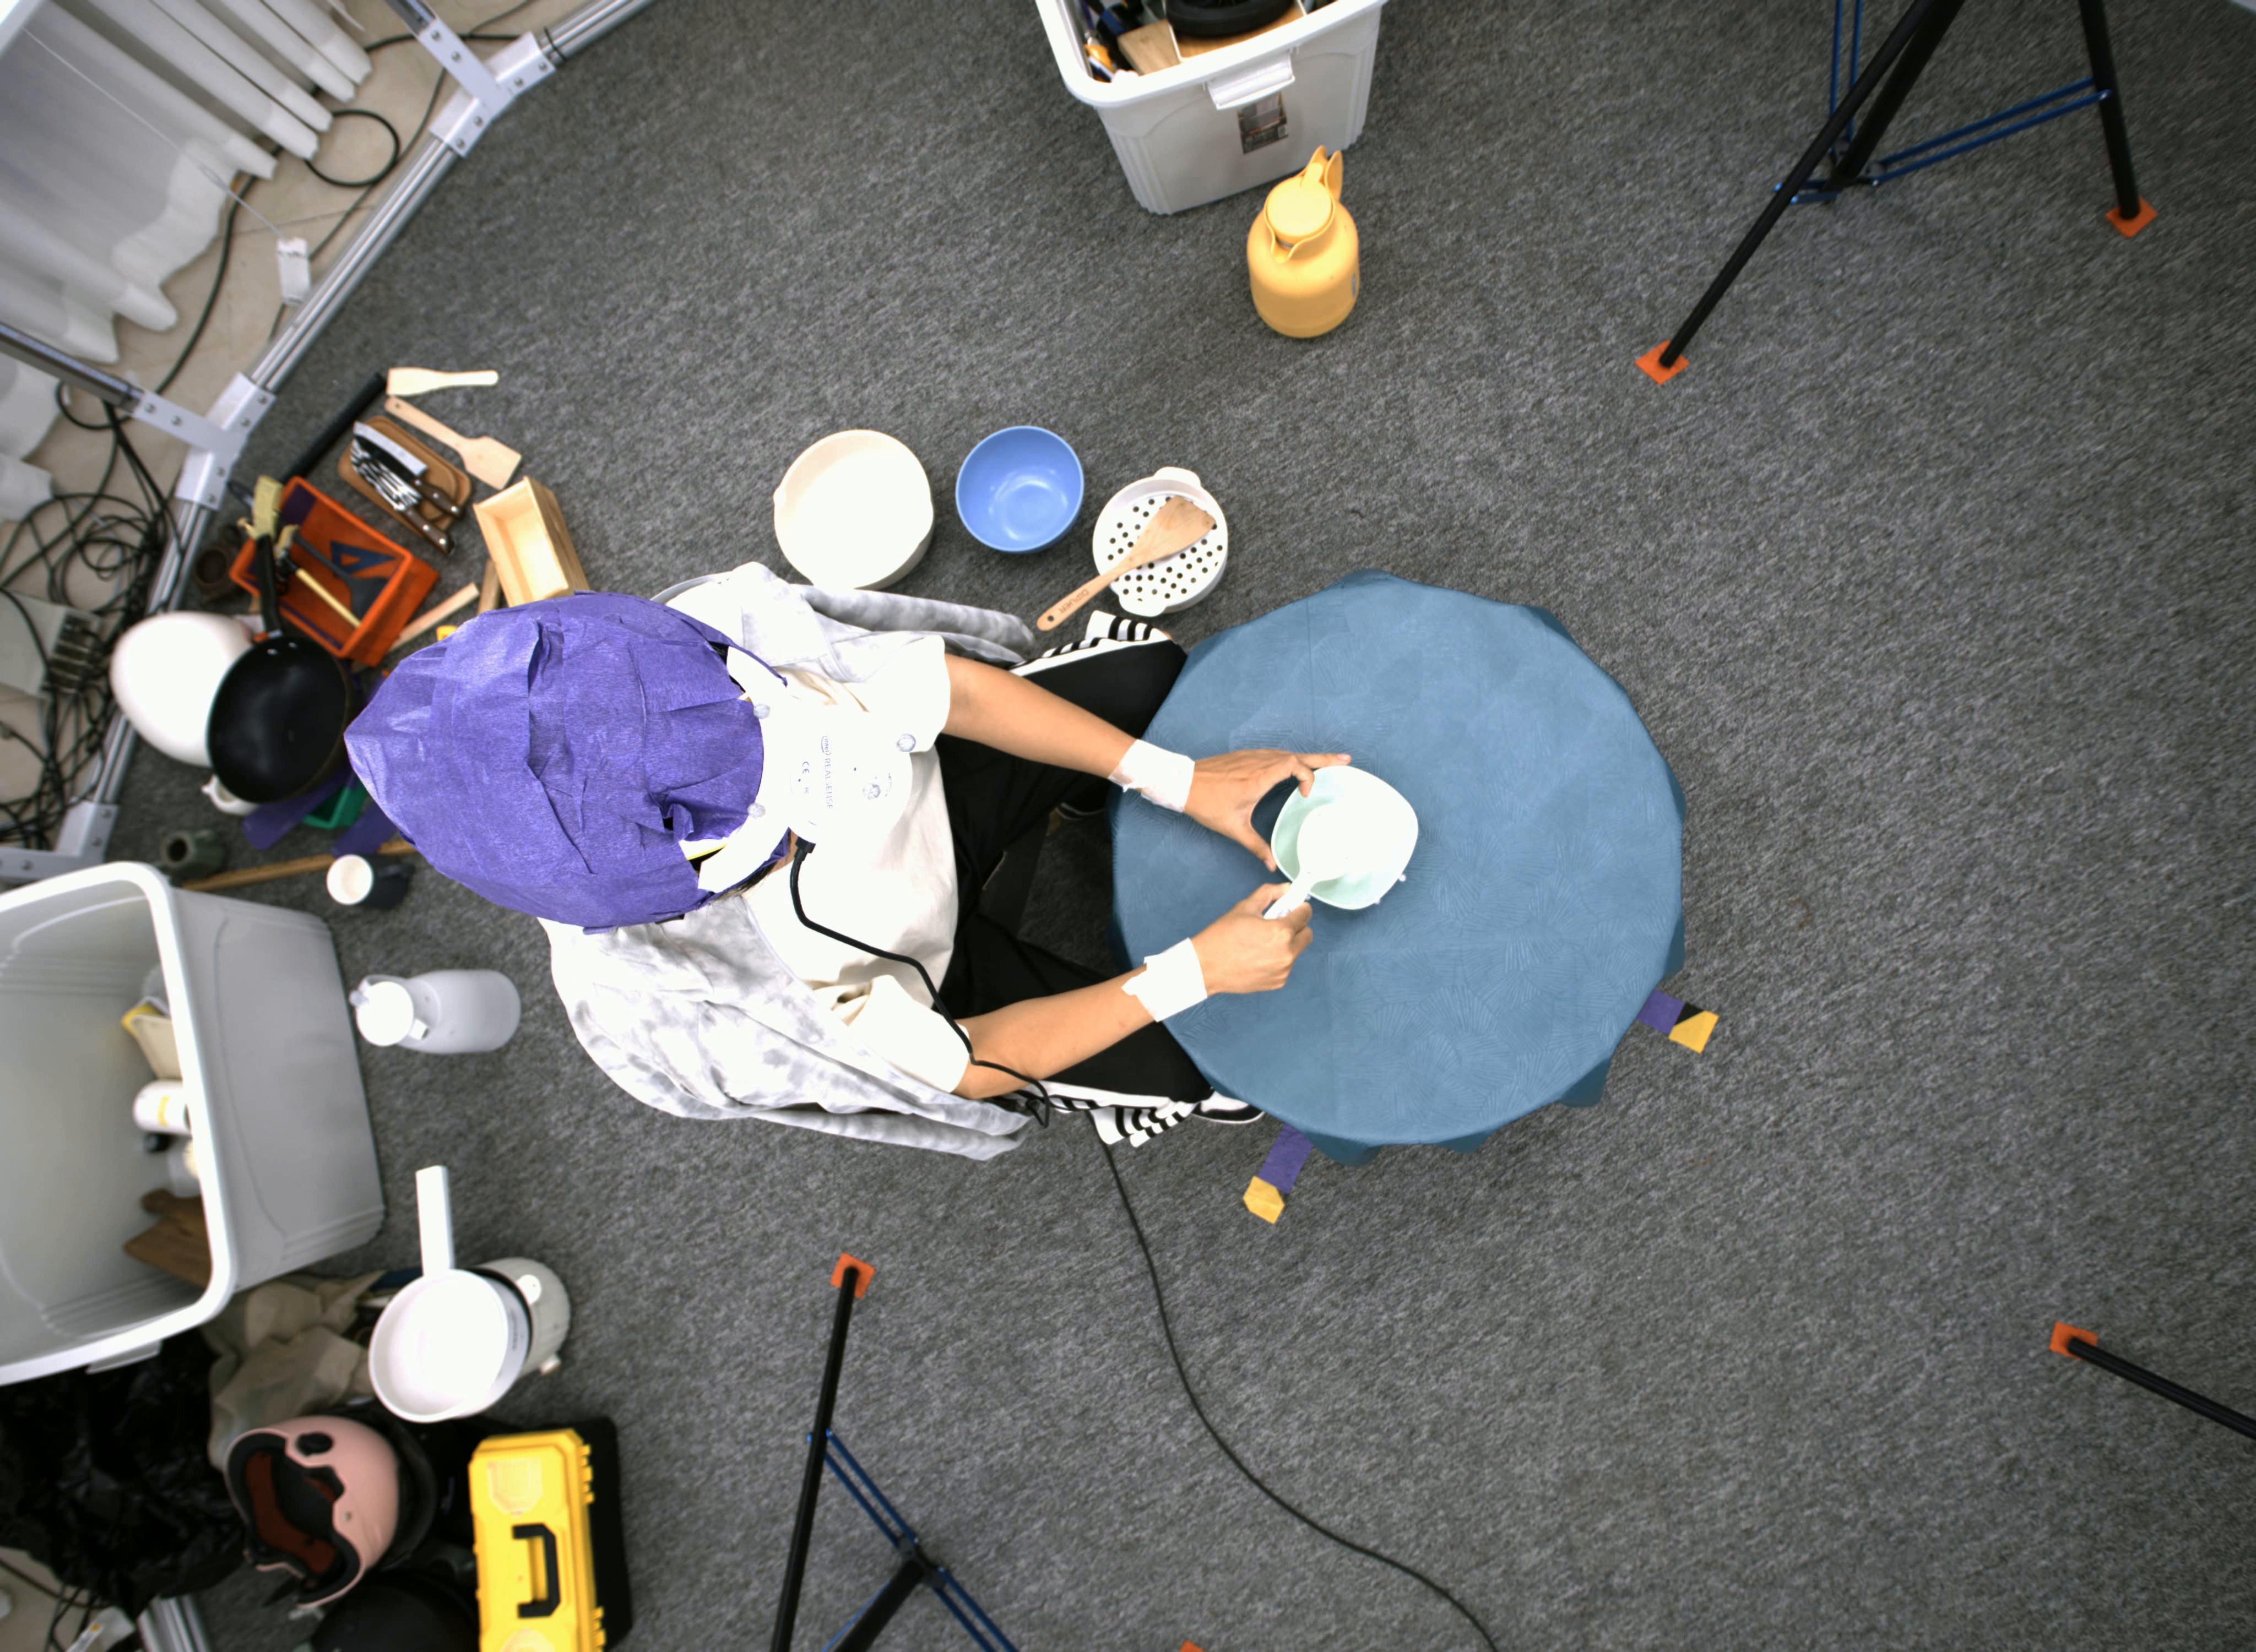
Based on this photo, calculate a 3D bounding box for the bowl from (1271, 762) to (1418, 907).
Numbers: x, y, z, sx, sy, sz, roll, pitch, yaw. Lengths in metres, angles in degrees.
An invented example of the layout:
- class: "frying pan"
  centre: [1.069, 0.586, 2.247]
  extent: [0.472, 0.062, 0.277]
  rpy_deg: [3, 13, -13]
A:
- class: "bowl"
  centre: [0.226, 0.010, 1.441]
  extent: [0.152, 0.058, 0.151]
  rpy_deg: [0, 88, 9]

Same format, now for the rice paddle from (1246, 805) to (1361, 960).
- class: "rice paddle"
  centre: [0.178, 0.051, 1.393]
  extent: [0.069, 0.030, 0.200]
  rpy_deg: [37, 58, 0]
